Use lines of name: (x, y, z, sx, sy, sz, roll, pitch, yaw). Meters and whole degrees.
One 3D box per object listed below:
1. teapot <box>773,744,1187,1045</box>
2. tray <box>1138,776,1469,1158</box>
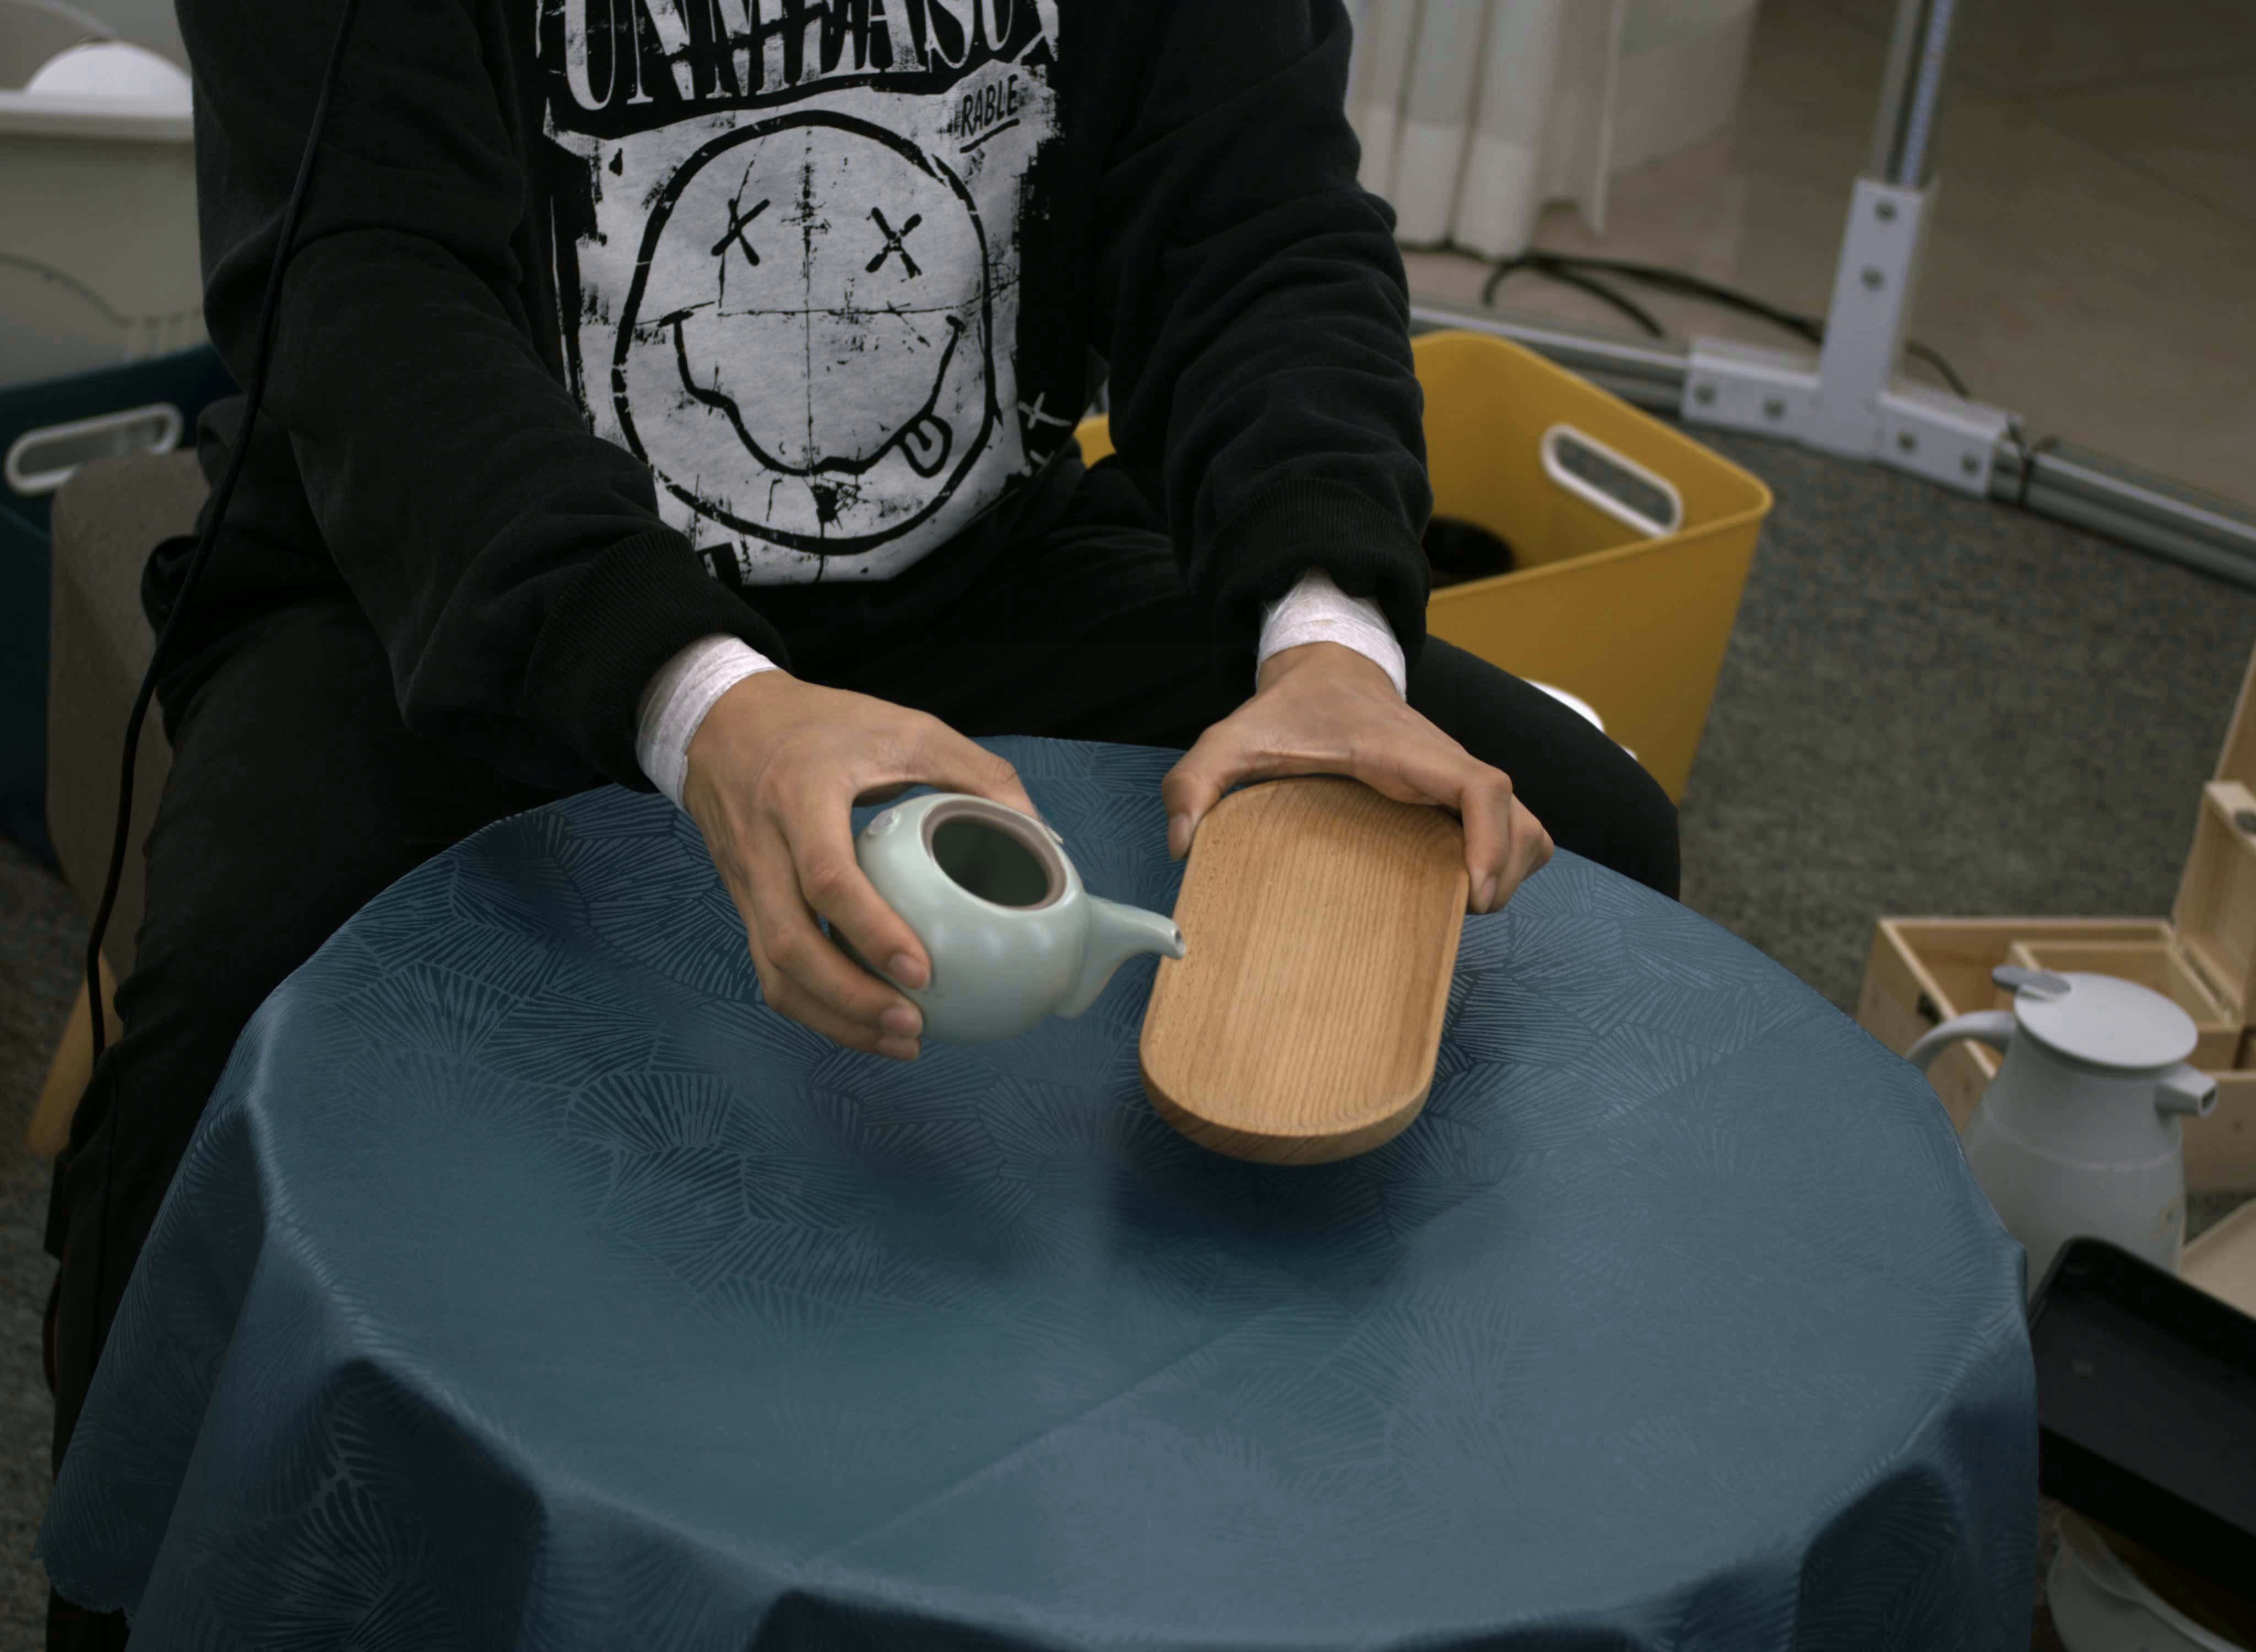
teapot: (-0.057, 0.030, 1.780, 0.143, 0.074, 0.088, 29, 32, -4)
tray: (0.063, 0.047, 1.859, 0.101, 0.020, 0.232, 7, 30, 5)
